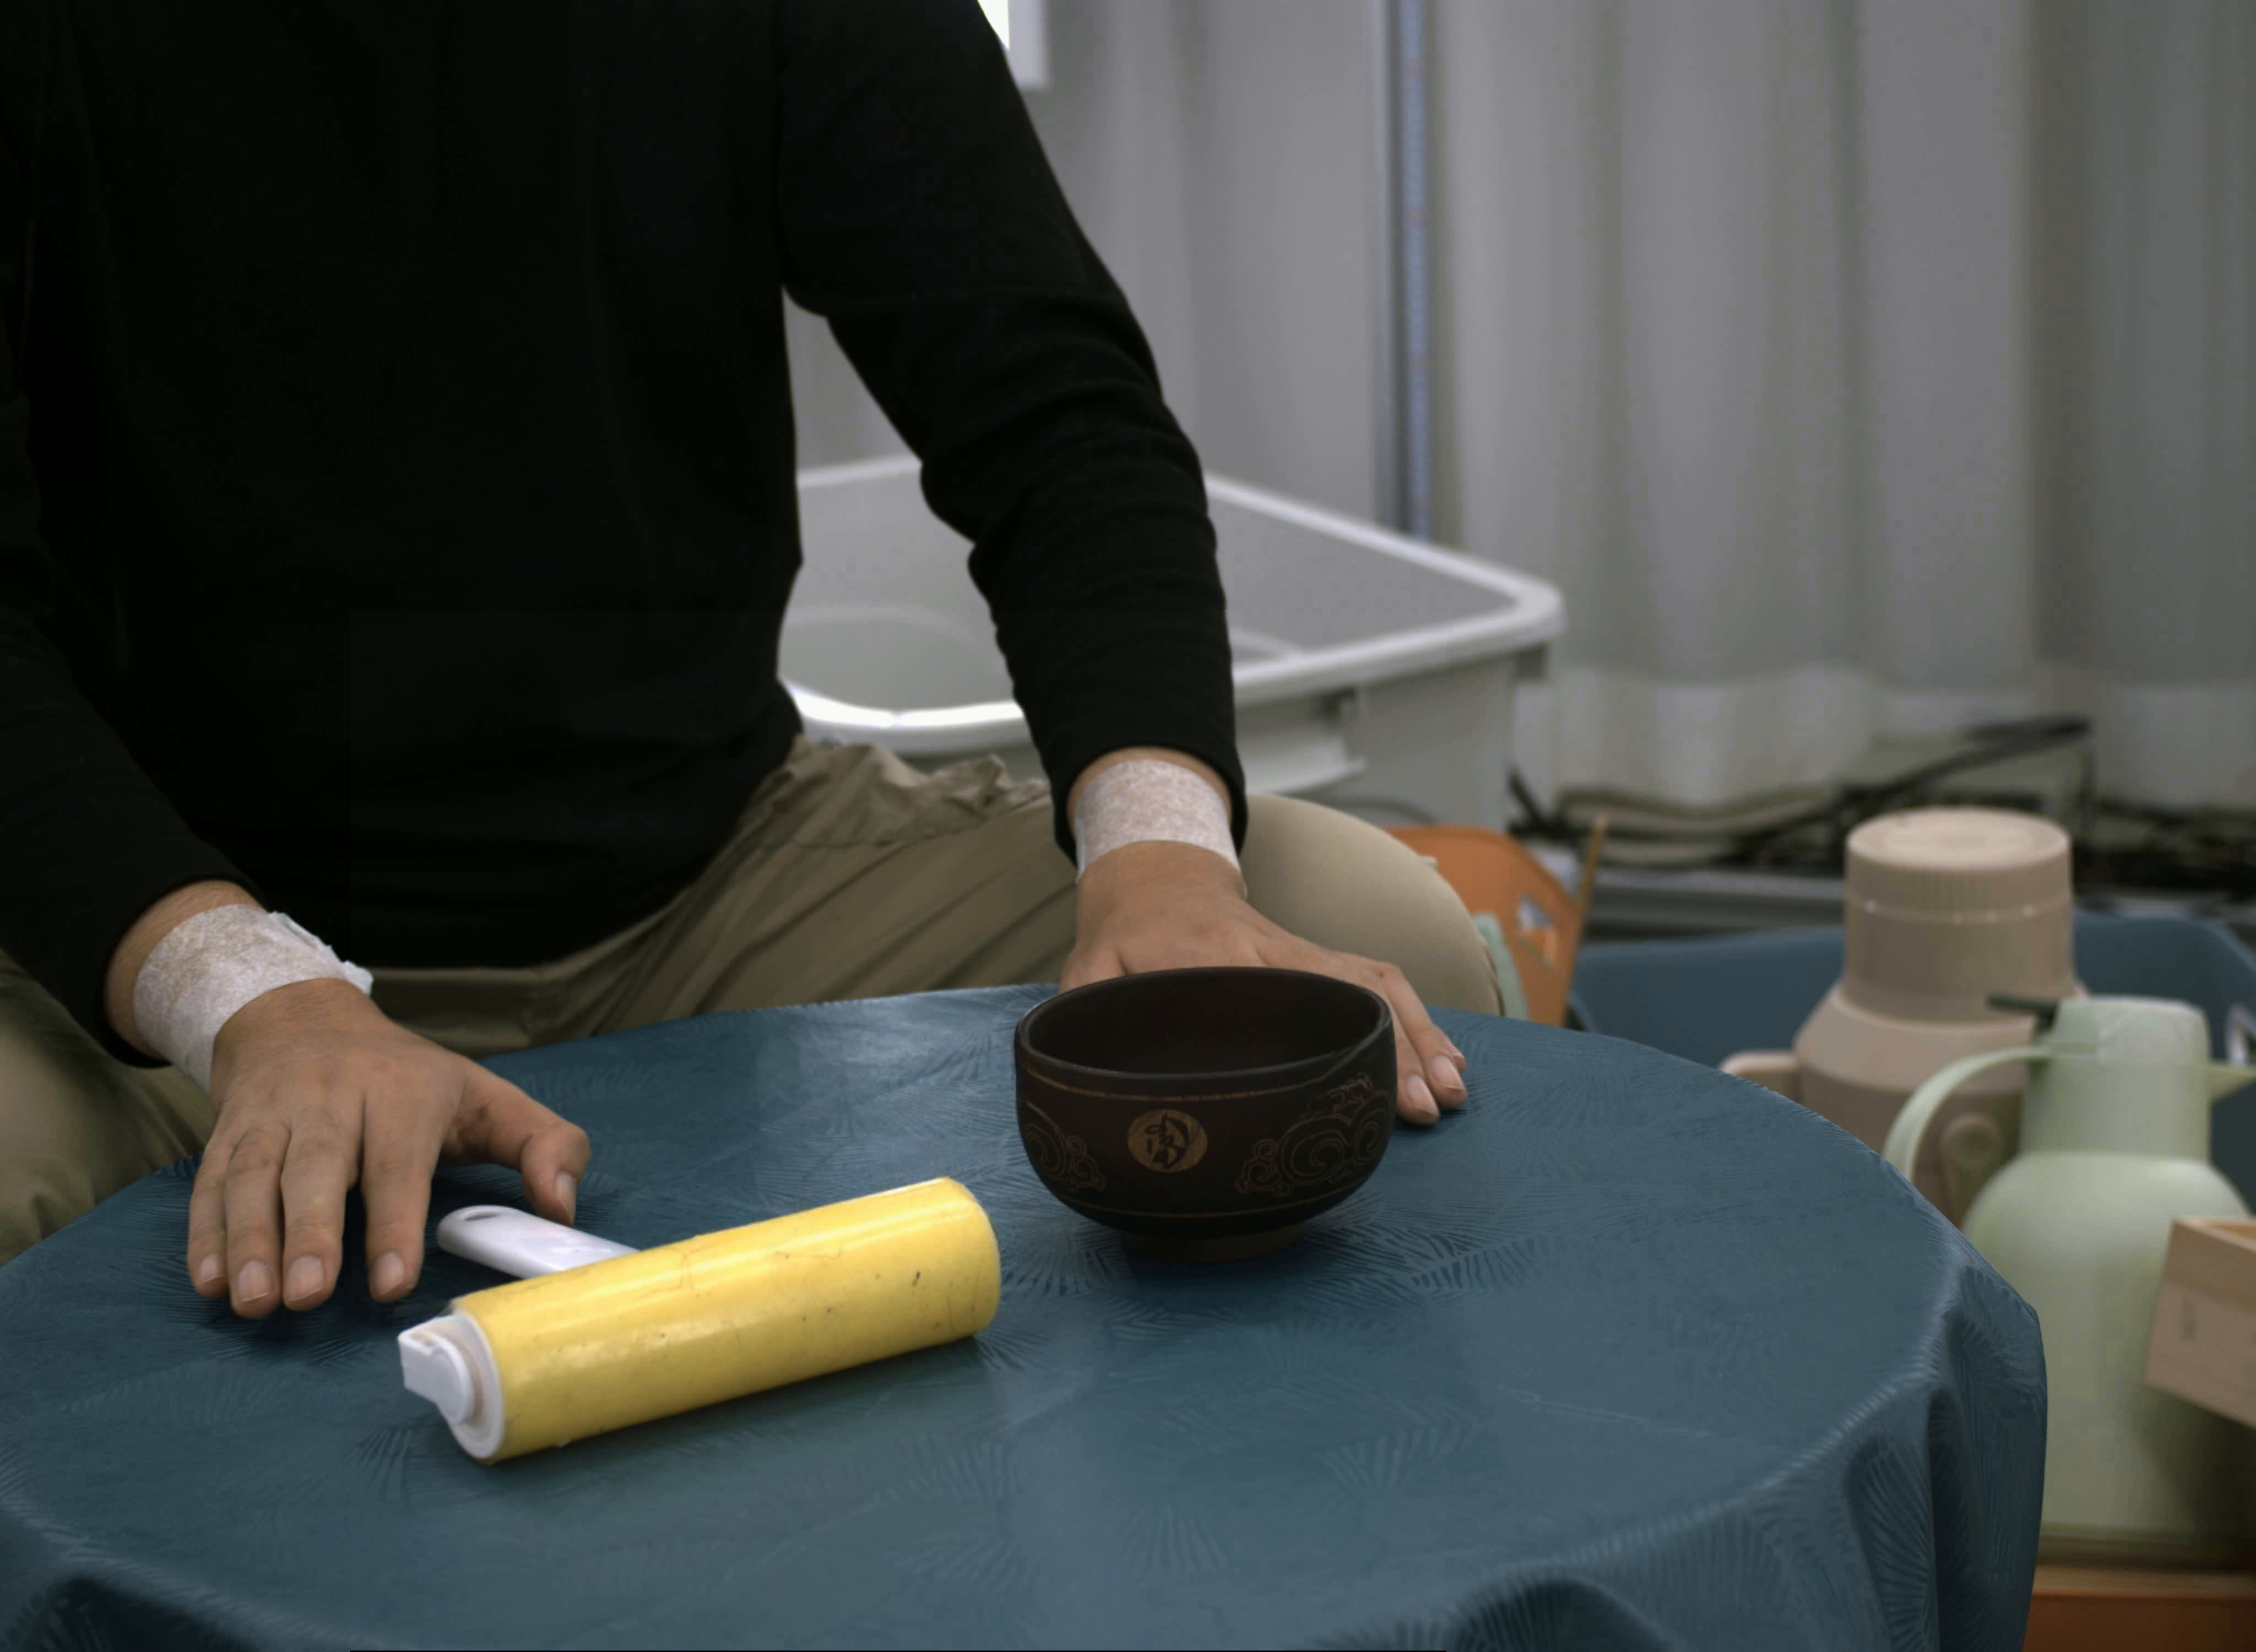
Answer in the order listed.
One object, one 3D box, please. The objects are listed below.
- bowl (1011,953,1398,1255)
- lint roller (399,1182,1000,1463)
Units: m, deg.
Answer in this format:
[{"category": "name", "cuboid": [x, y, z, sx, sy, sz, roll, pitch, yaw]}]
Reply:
[{"category": "bowl", "cuboid": [0.024, 0.089, 1.663, 0.117, 0.069, 0.119, -2, 15, 0]}, {"category": "lint roller", "cuboid": [-0.157, 0.123, 1.609, 0.173, 0.051, 0.193, -12, 22, -32]}]
